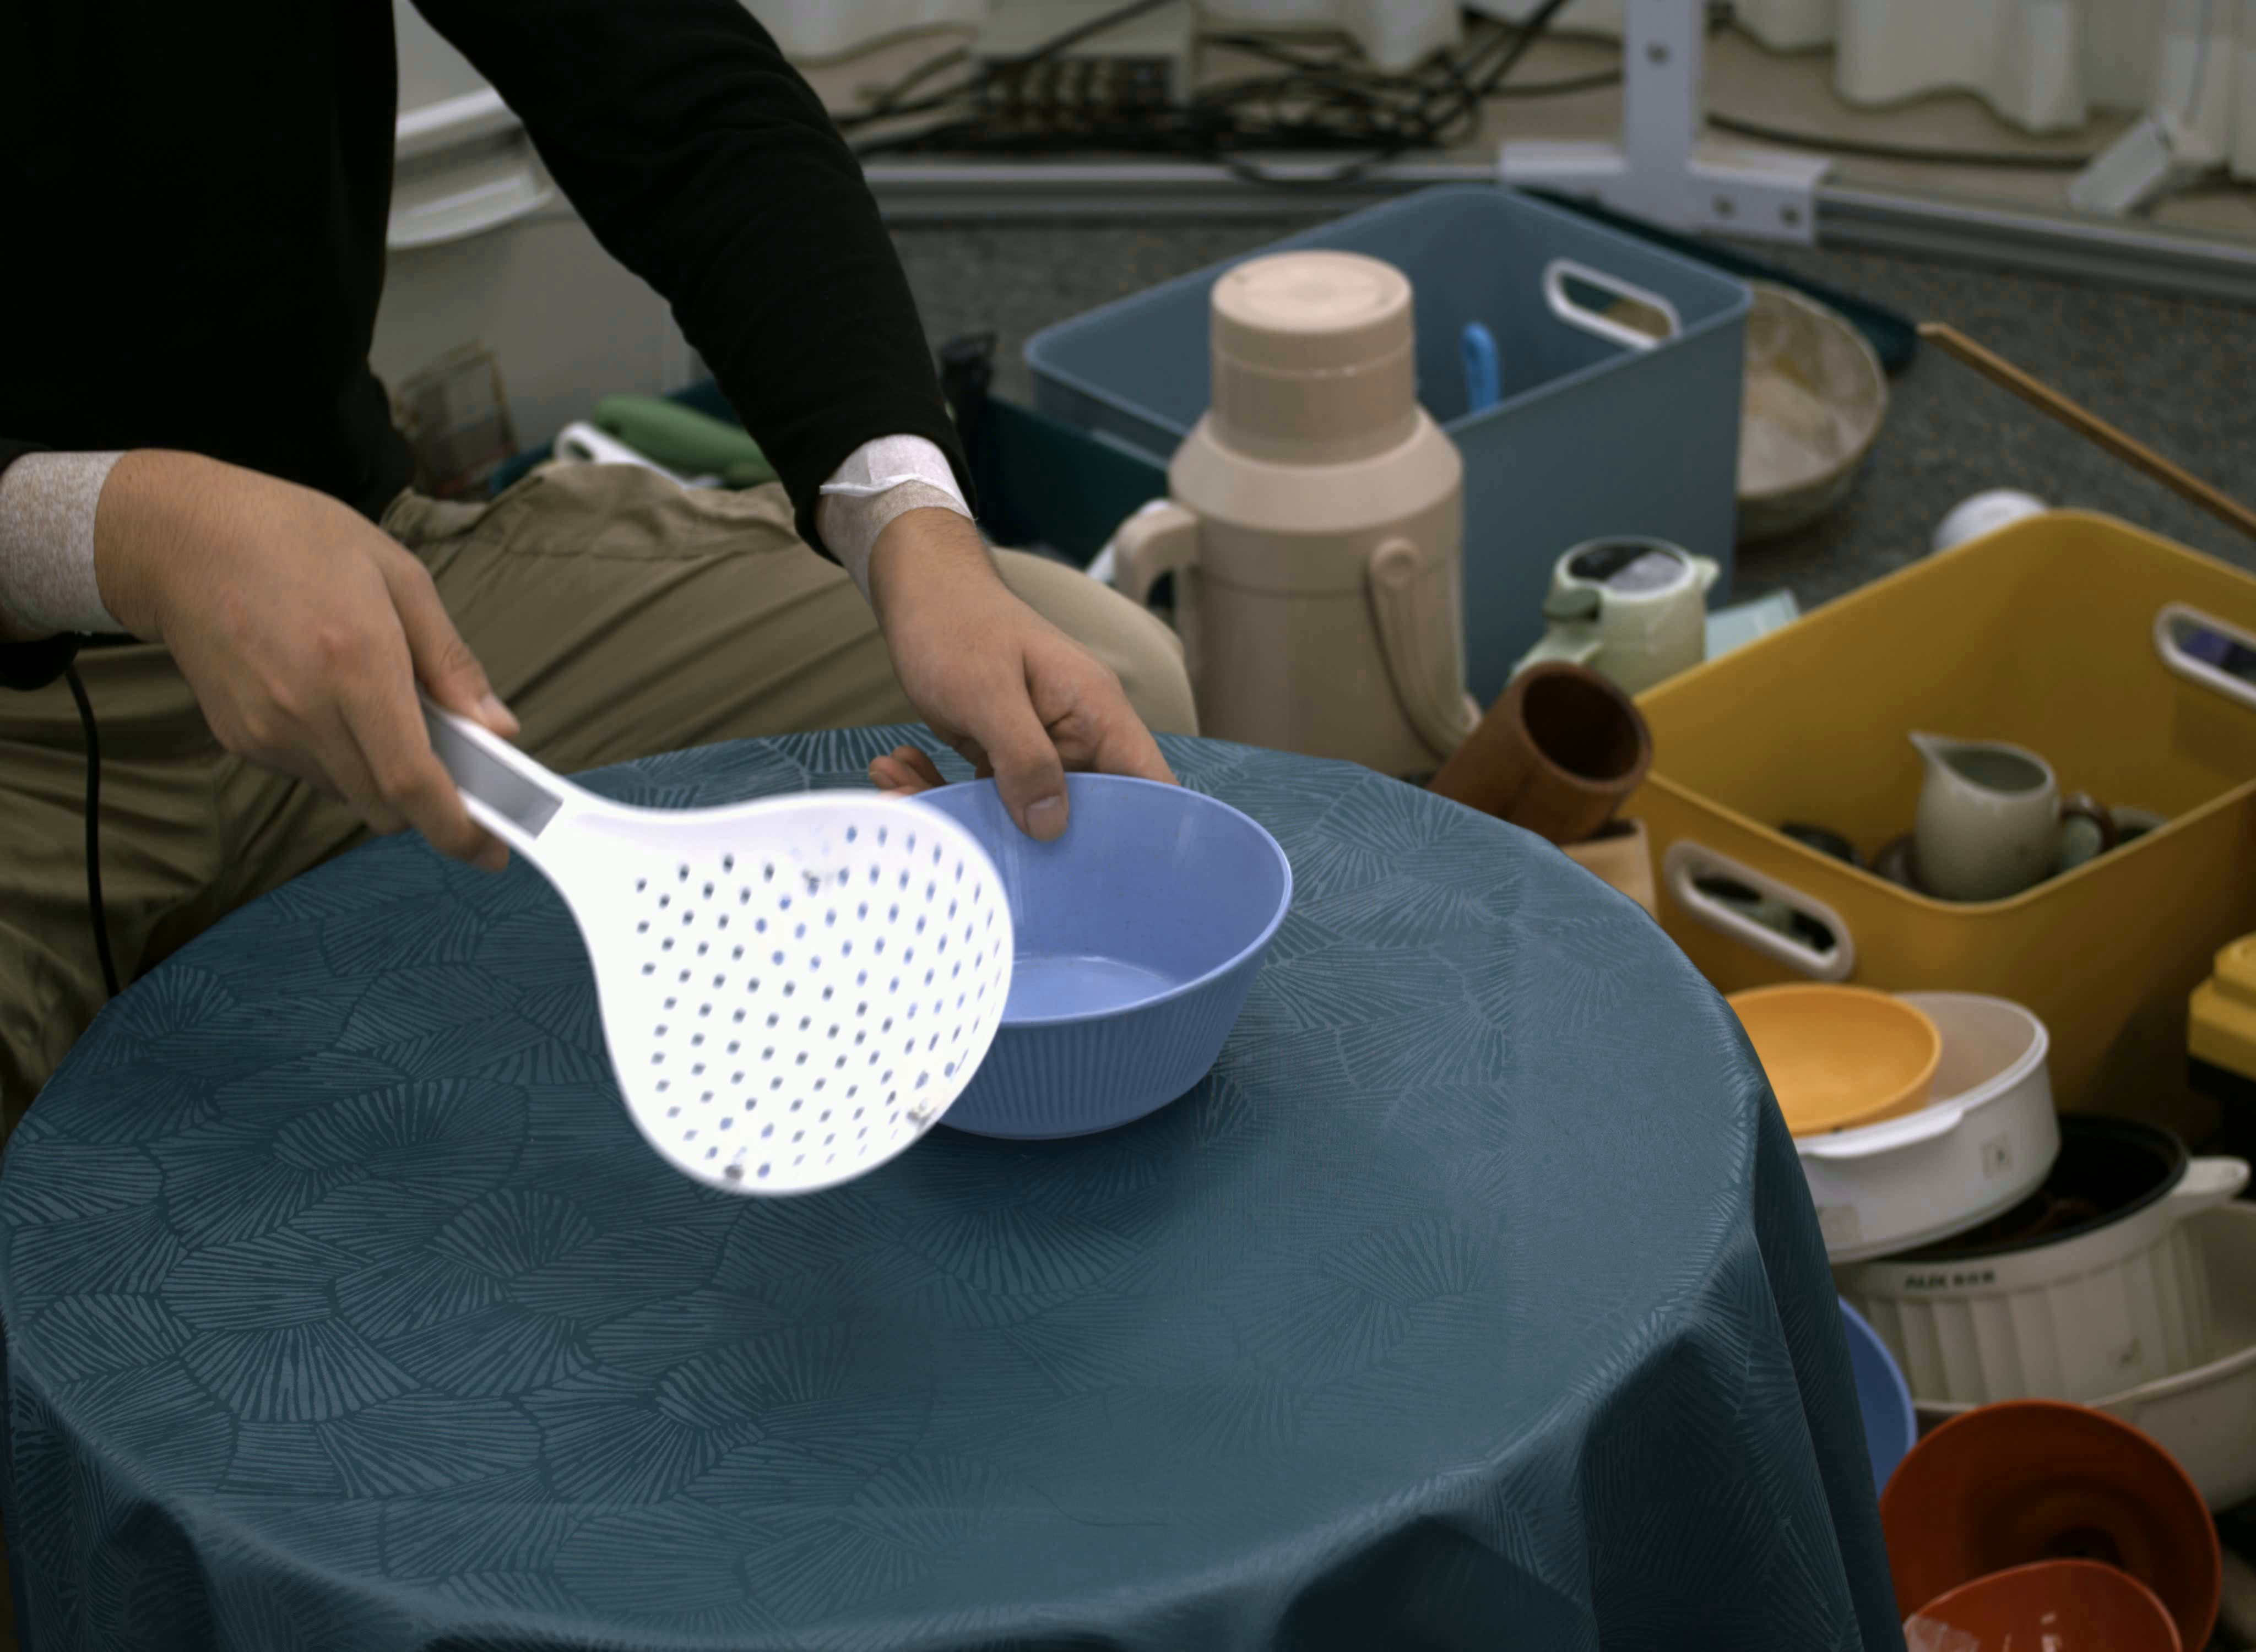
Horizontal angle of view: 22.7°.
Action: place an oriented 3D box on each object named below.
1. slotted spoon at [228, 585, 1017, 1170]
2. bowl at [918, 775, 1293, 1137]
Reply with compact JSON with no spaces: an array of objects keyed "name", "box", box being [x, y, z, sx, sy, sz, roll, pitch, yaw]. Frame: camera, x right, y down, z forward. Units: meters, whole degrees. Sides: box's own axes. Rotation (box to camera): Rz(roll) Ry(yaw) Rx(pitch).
[{"name":"slotted spoon","box":[-0.172,0.003,1.817,0.350,0.045,0.137,30,79,29]},{"name":"bowl","box":[-0.030,0.050,1.926,0.175,0.069,0.179,-2,27,1]}]
